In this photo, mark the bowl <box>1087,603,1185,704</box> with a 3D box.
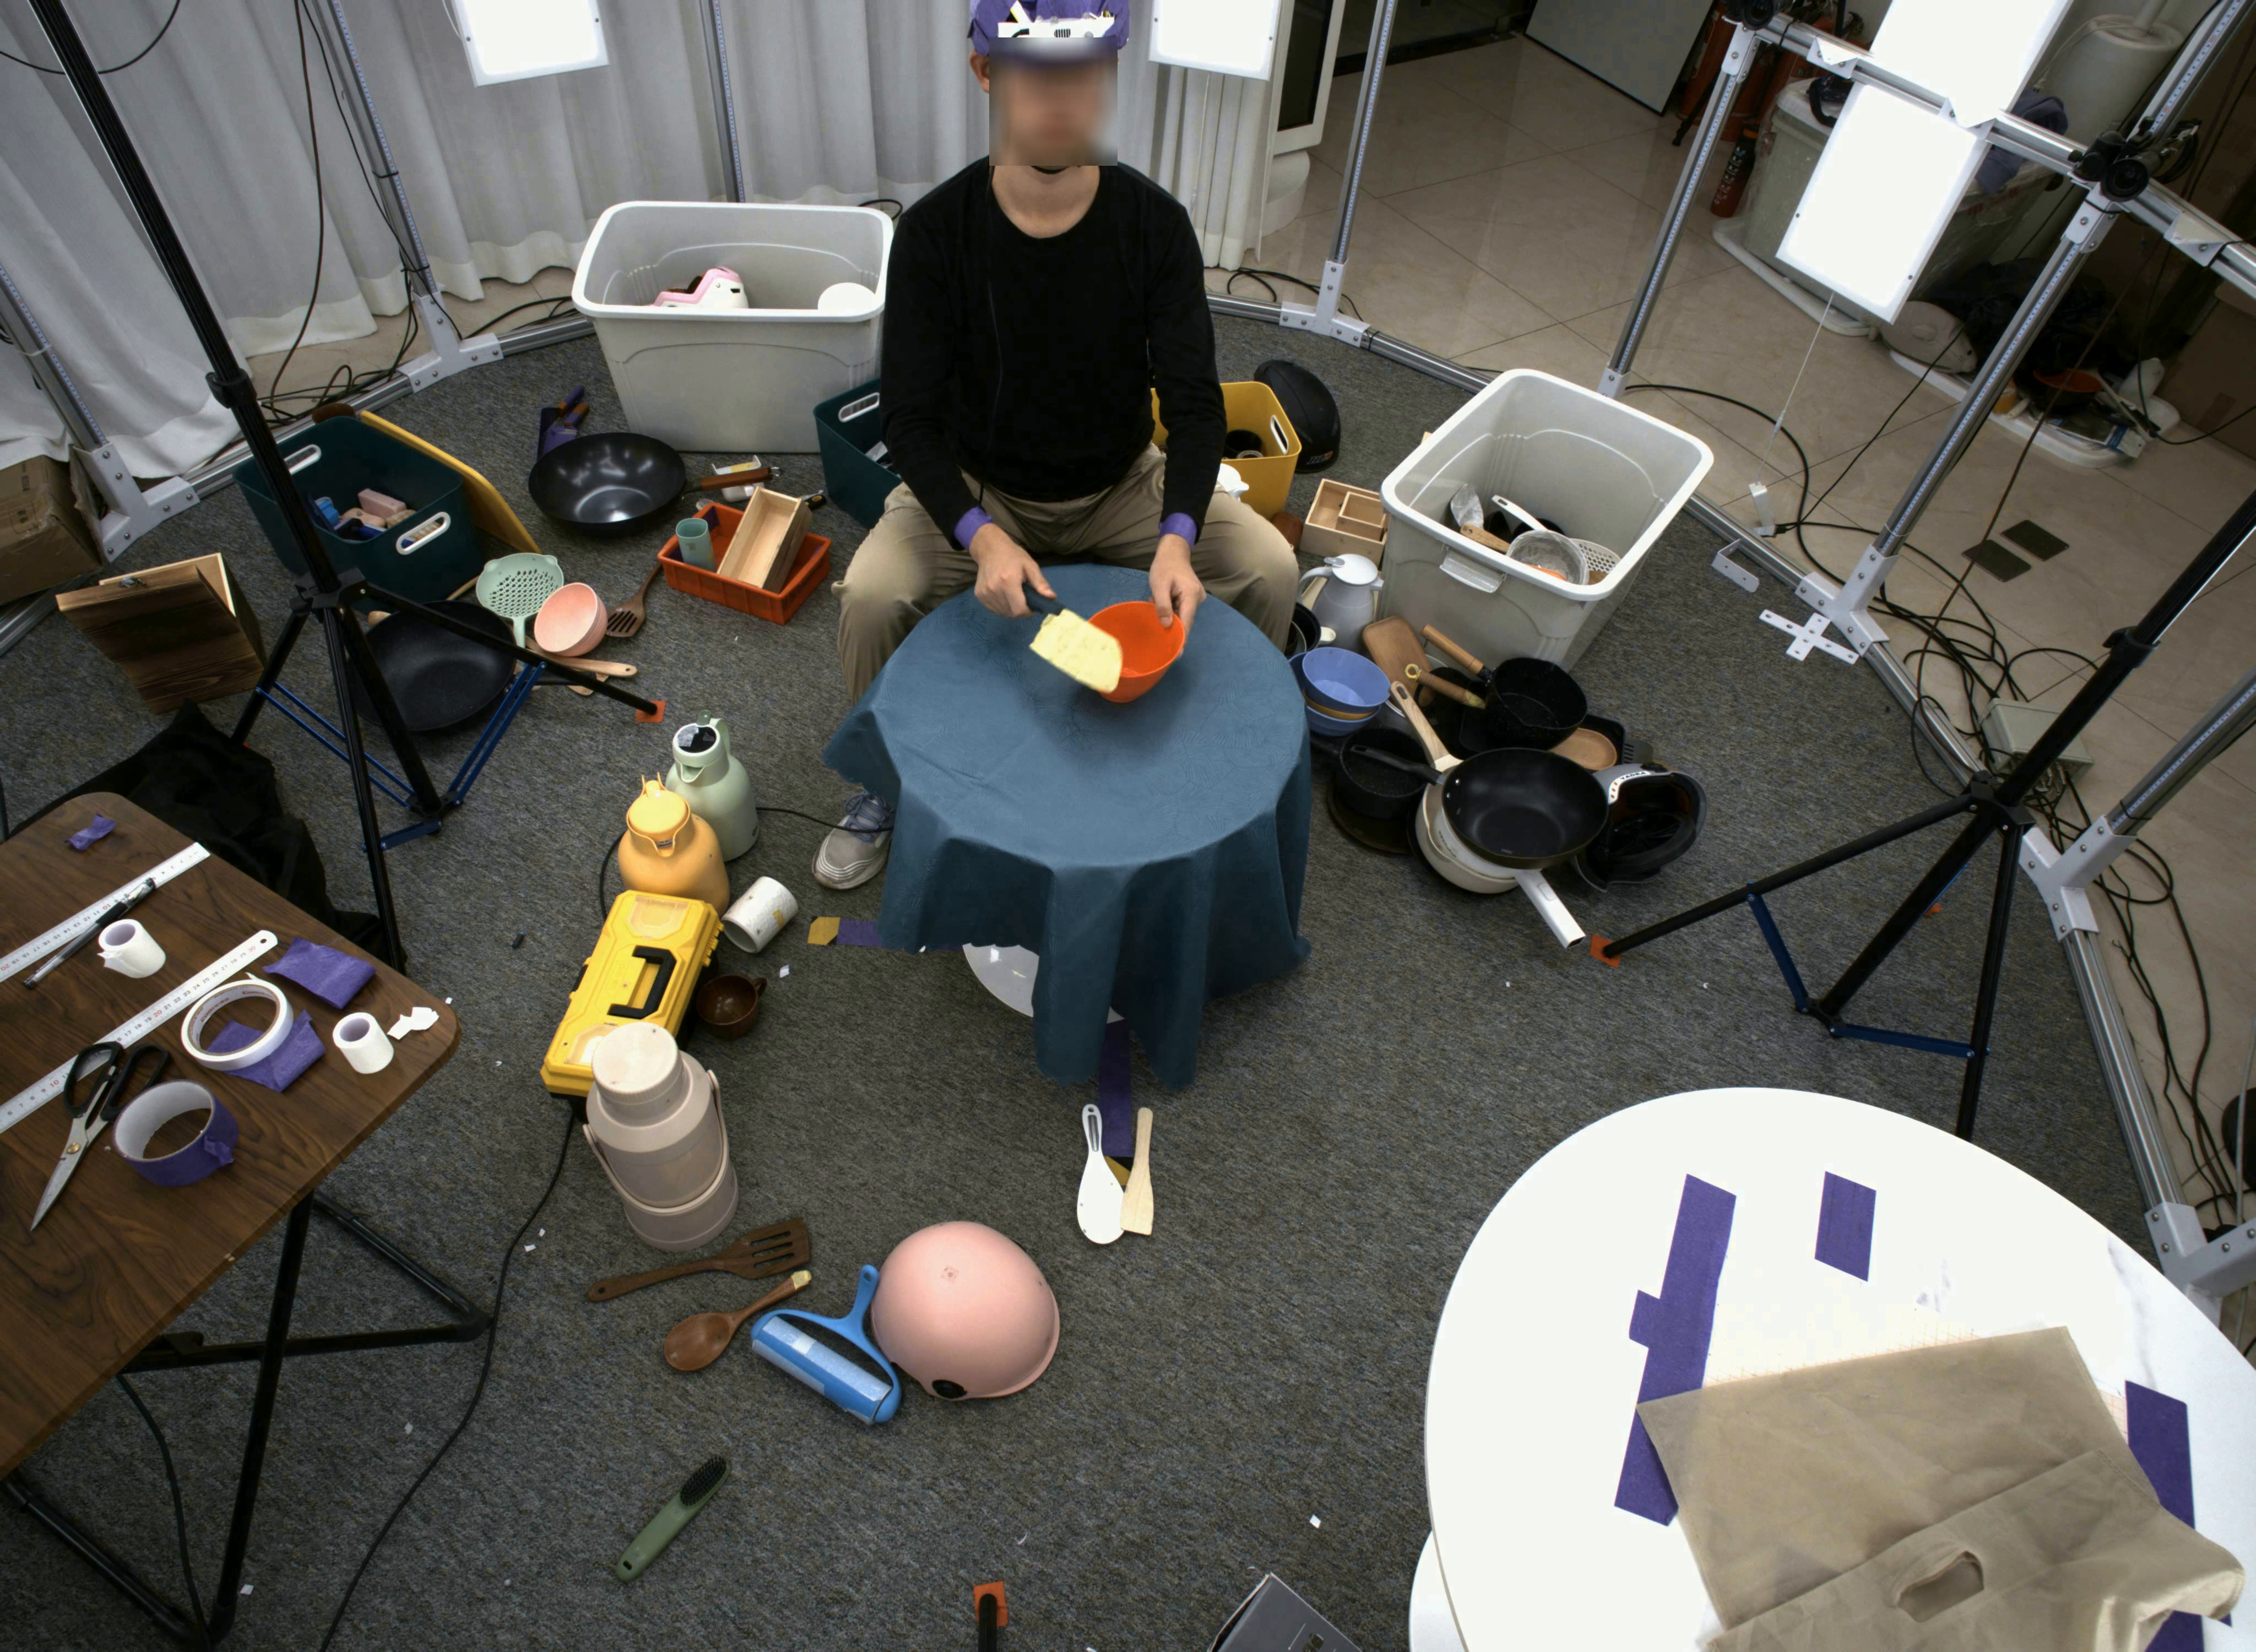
[{"bbox_3d":[0.004,-0.232,1.807,0.148,0.102,0.152,0,50,-1],"label":"bowl"}]

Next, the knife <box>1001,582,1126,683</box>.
[{"bbox_3d":[-0.096,-0.272,1.787,0.081,0.027,0.295,-52,50,1],"label":"knife"}]
